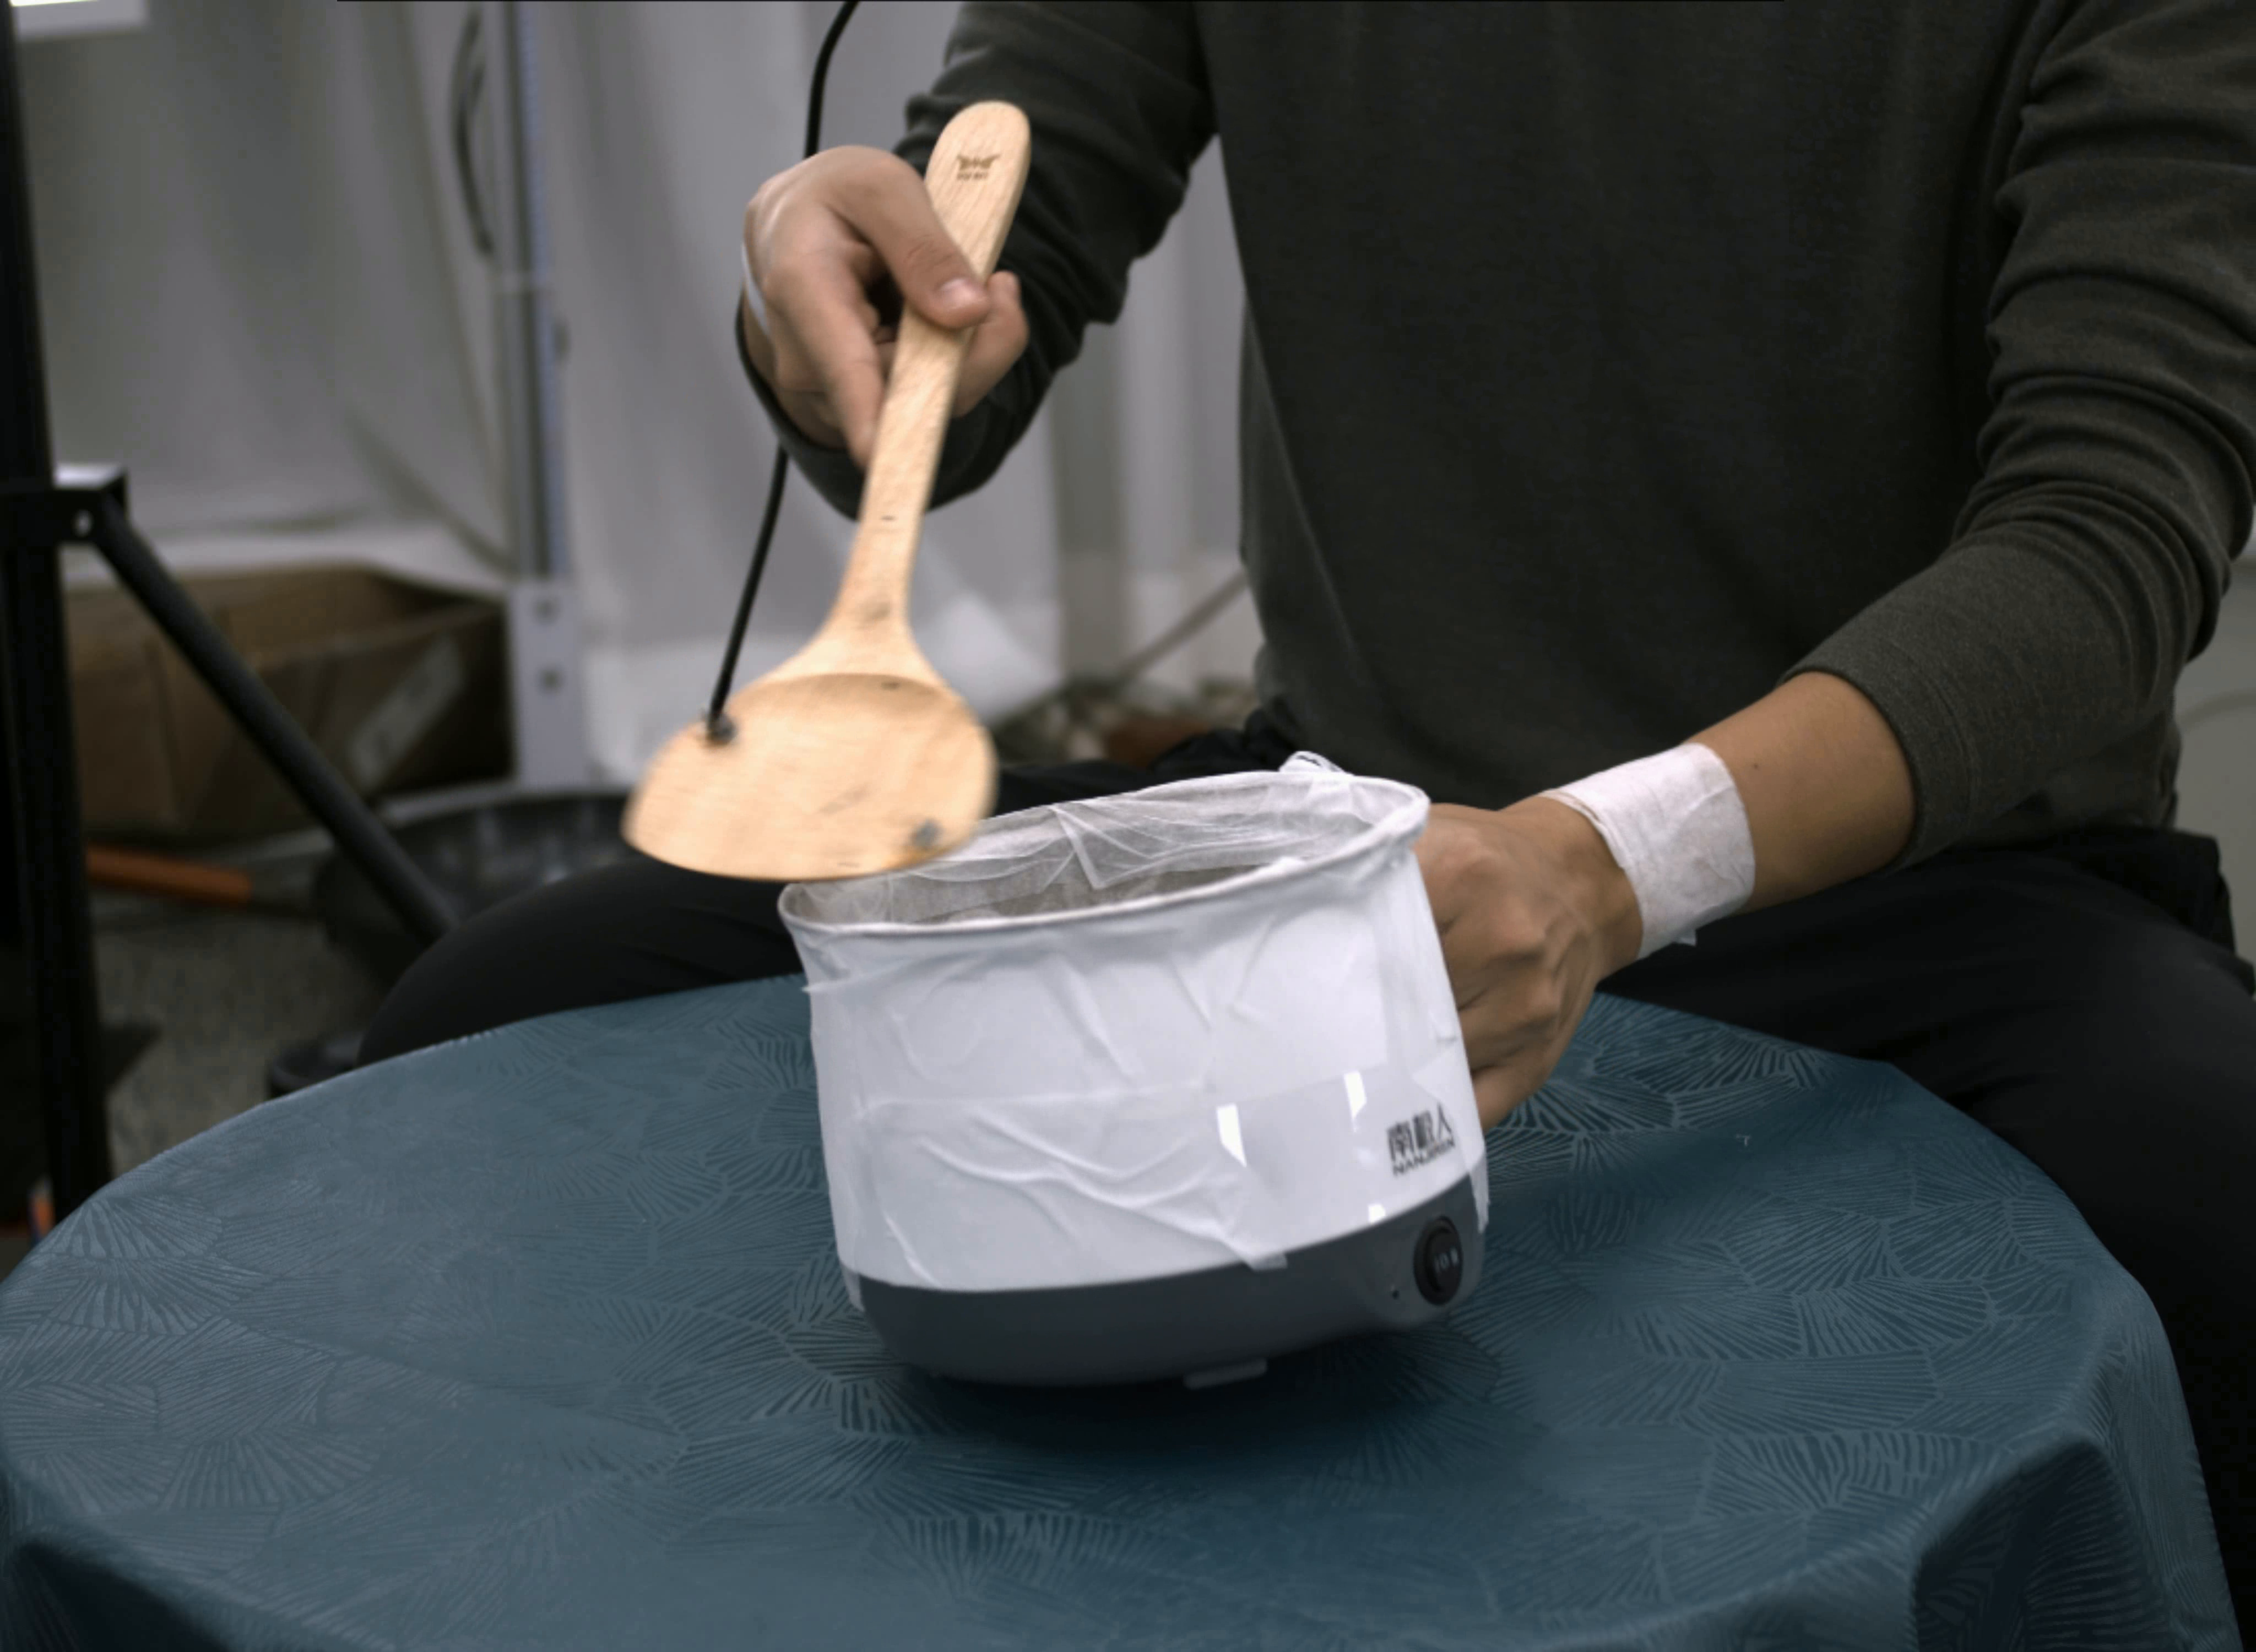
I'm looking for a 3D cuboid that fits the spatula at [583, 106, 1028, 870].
[{"bbox_3d":[-0.073,-0.106,1.532,0.096,0.018,0.392,3,39,8],"label":"spatula"}]

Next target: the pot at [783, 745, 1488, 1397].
[{"bbox_3d":[0.020,0.061,1.443,0.182,0.136,0.229,-1,13,36],"label":"pot"}]
